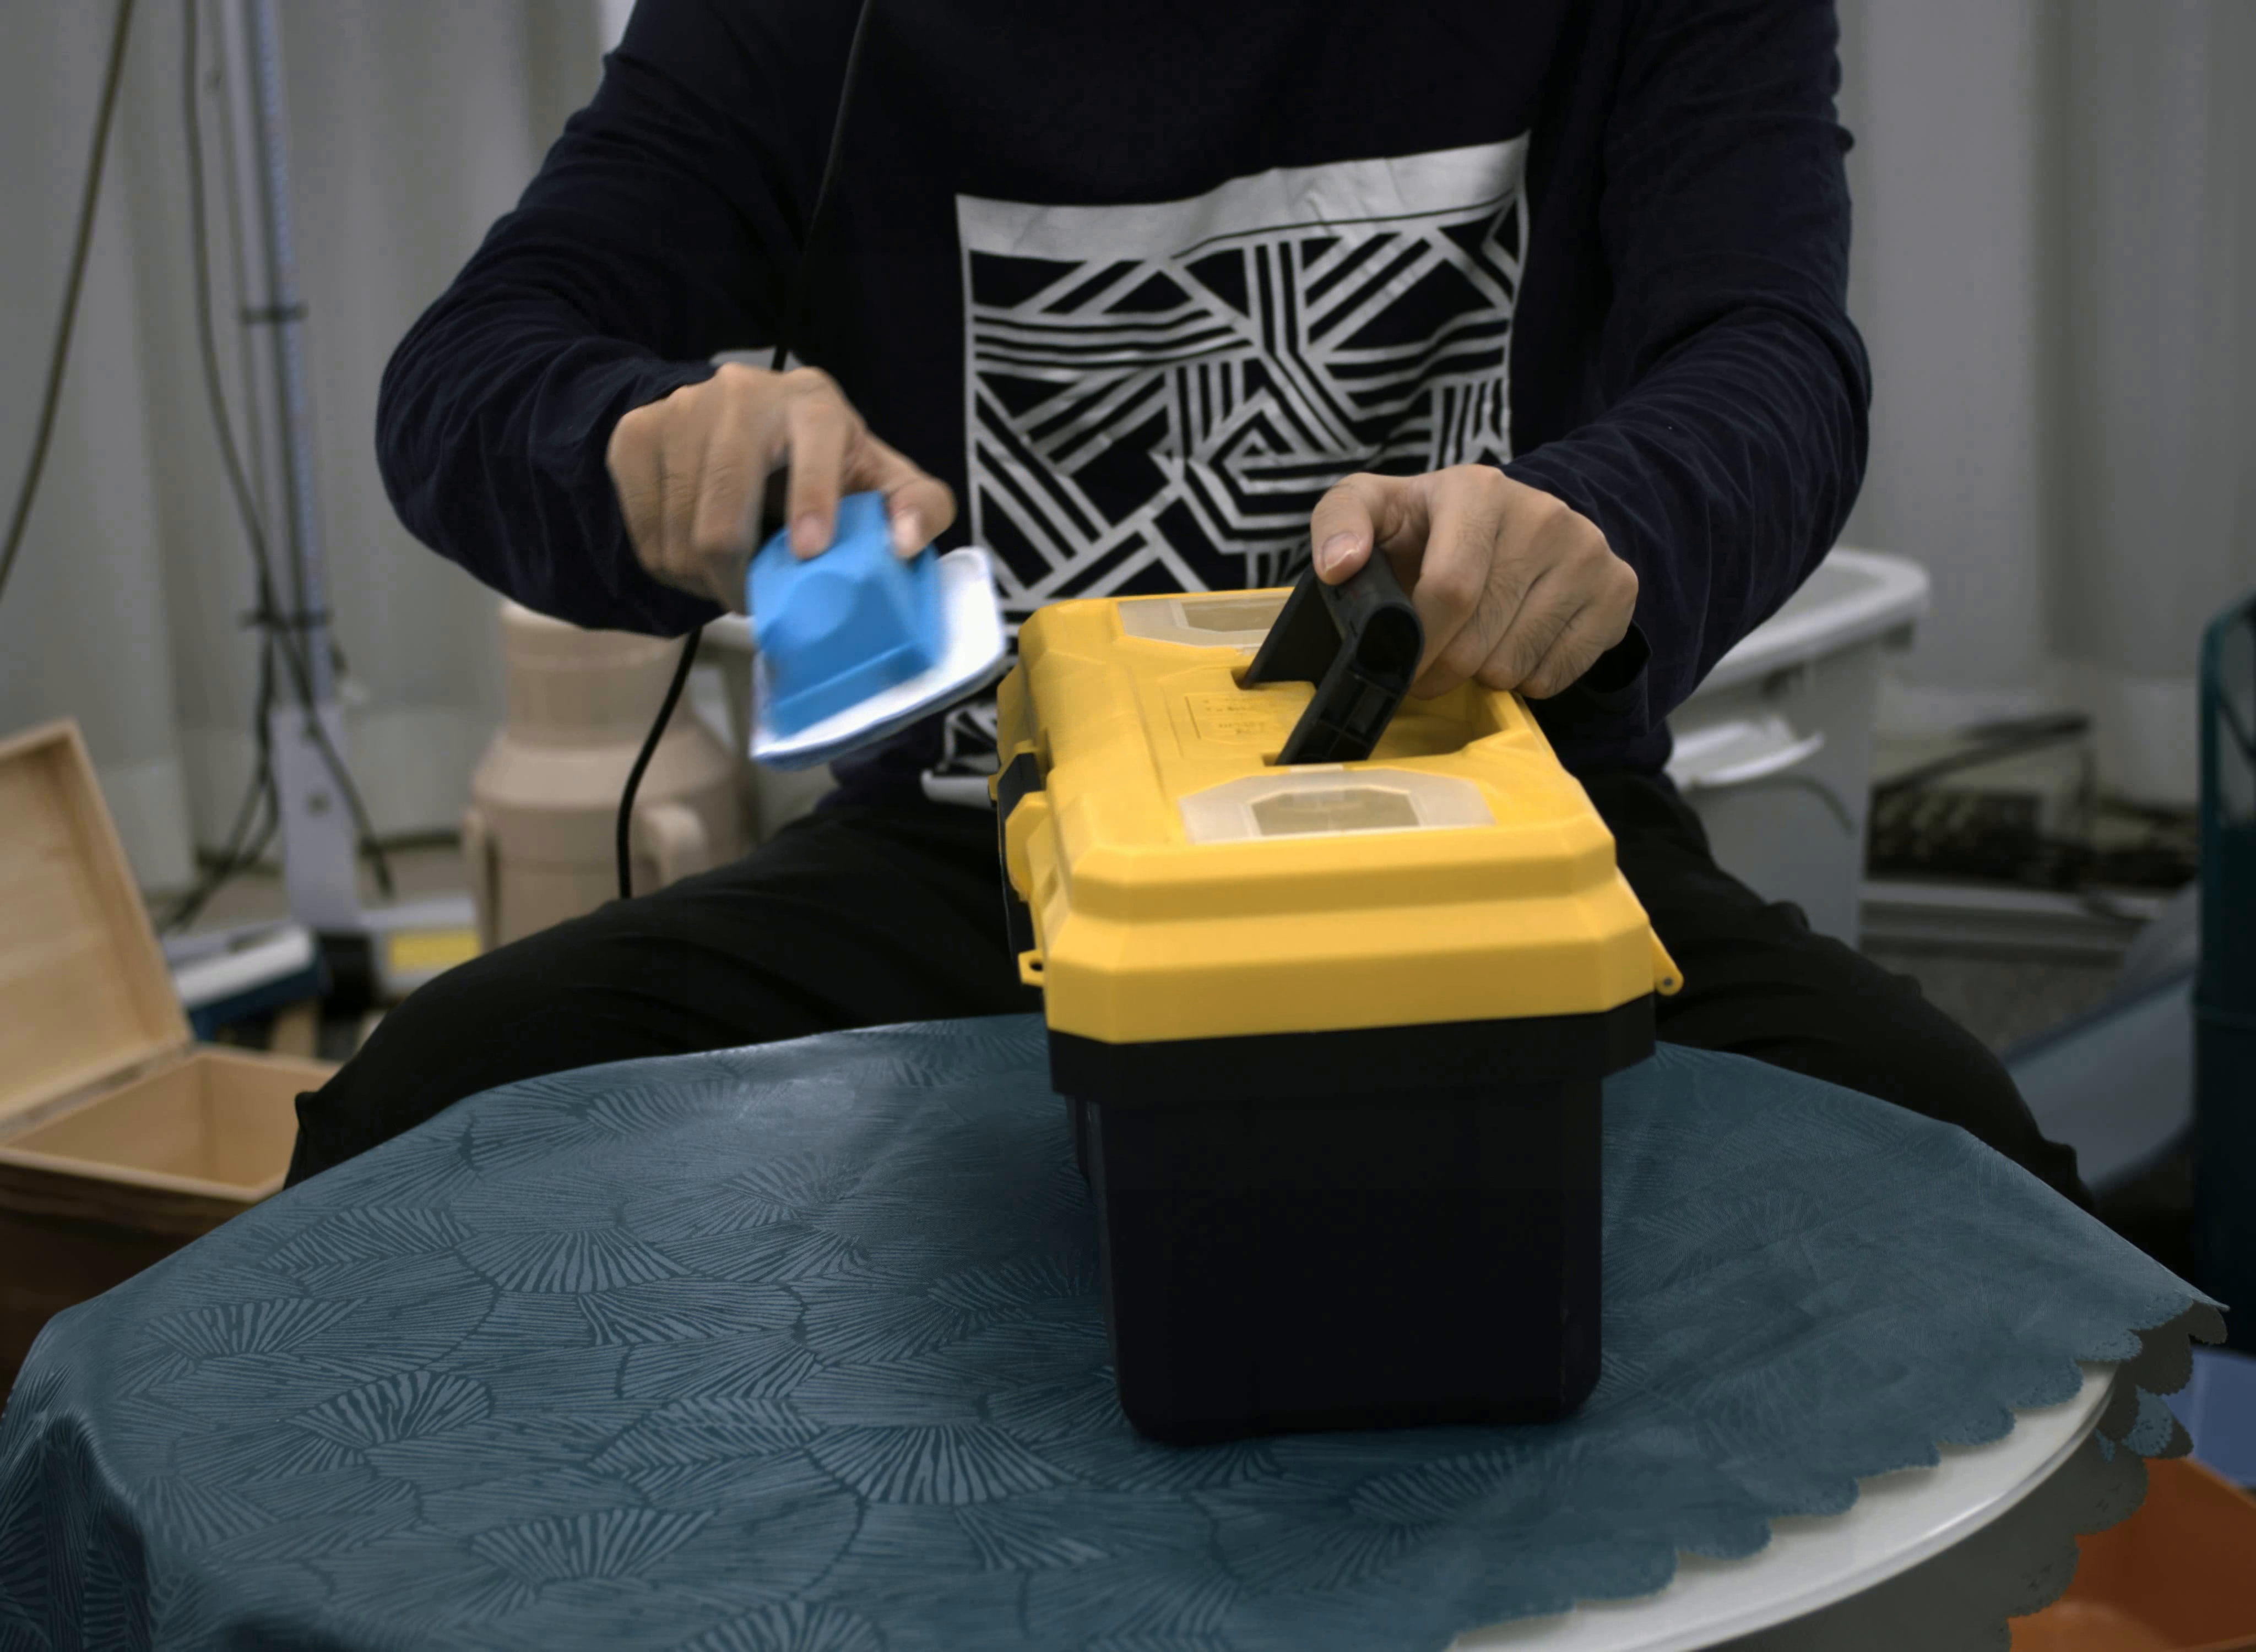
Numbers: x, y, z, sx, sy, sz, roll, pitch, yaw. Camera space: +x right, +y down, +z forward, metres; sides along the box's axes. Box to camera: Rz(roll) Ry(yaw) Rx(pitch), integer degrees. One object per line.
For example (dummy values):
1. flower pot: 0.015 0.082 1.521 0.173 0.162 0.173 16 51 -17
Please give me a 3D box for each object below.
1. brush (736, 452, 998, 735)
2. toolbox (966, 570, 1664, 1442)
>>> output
1. brush: -0.085 -0.073 1.657 0.083 0.055 0.145 -21 19 4
2. toolbox: 0.050 0.045 1.631 0.180 0.172 0.354 -3 15 -3
